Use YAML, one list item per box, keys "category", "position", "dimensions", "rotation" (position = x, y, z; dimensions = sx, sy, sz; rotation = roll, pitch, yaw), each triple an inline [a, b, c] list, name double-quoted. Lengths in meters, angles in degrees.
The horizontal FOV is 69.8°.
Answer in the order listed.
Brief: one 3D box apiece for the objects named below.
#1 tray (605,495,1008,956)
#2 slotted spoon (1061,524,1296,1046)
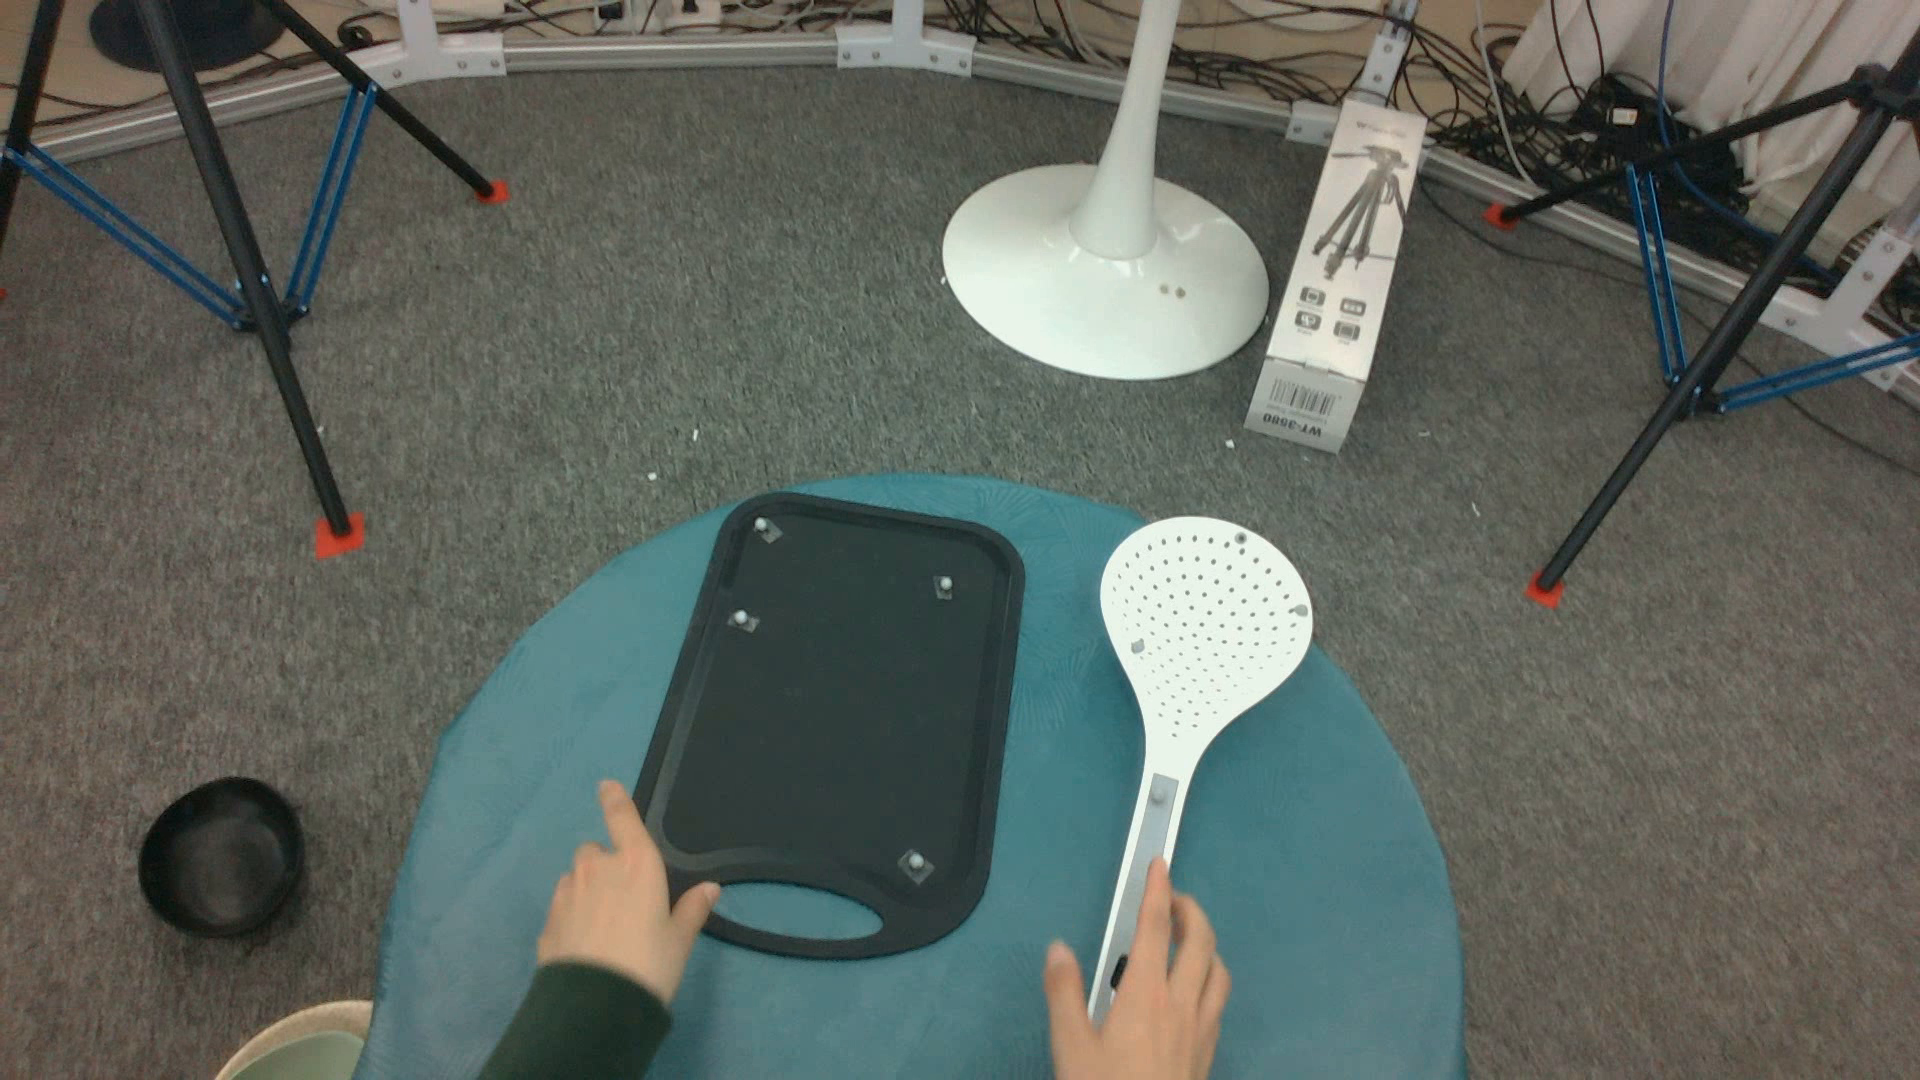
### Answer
- category: "tray"
  position: [-0.085, 0.100, 0.848]
  dimensions: [0.211, 0.010, 0.327]
  rotation: [10, 49, 0]
- category: "slotted spoon"
  position: [0.117, 0.131, 0.827]
  dimensions: [0.136, 0.045, 0.351]
  rotation: [15, 49, 8]
